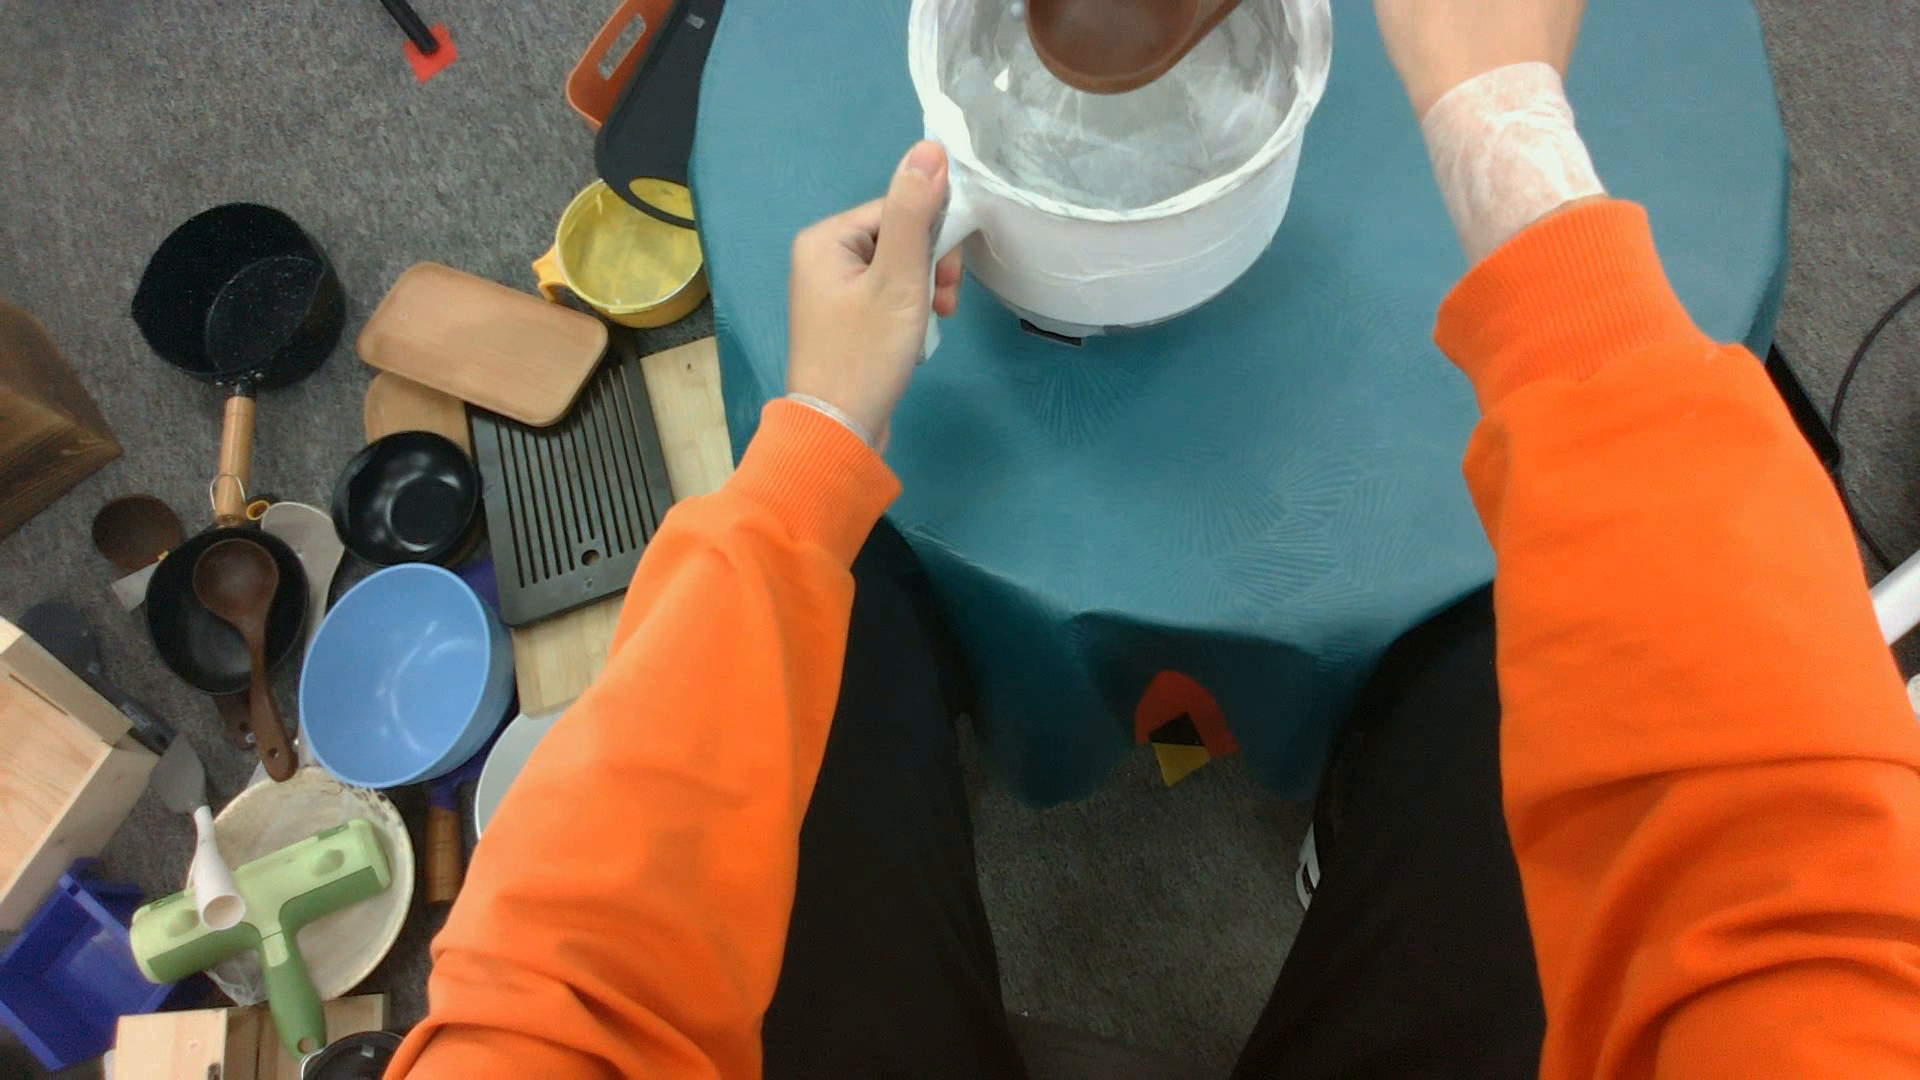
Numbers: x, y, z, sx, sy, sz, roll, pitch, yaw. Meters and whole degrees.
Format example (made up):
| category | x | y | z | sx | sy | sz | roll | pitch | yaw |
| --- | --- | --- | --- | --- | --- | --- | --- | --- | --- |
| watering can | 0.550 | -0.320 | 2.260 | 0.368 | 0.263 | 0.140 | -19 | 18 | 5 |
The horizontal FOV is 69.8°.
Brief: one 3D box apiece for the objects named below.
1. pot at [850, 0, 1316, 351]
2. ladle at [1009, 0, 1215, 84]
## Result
| category | x | y | z | sx | sy | sz | roll | pitch | yaw |
| --- | --- | --- | --- | --- | --- | --- | --- | --- | --- |
| pot | 0.043 | -0.184 | 0.637 | 0.234 | 0.136 | 0.179 | -42 | 75 | -9 |
| ladle | 0.124 | -0.252 | 0.516 | 0.259 | 0.065 | 0.076 | -20 | 74 | 45 |
